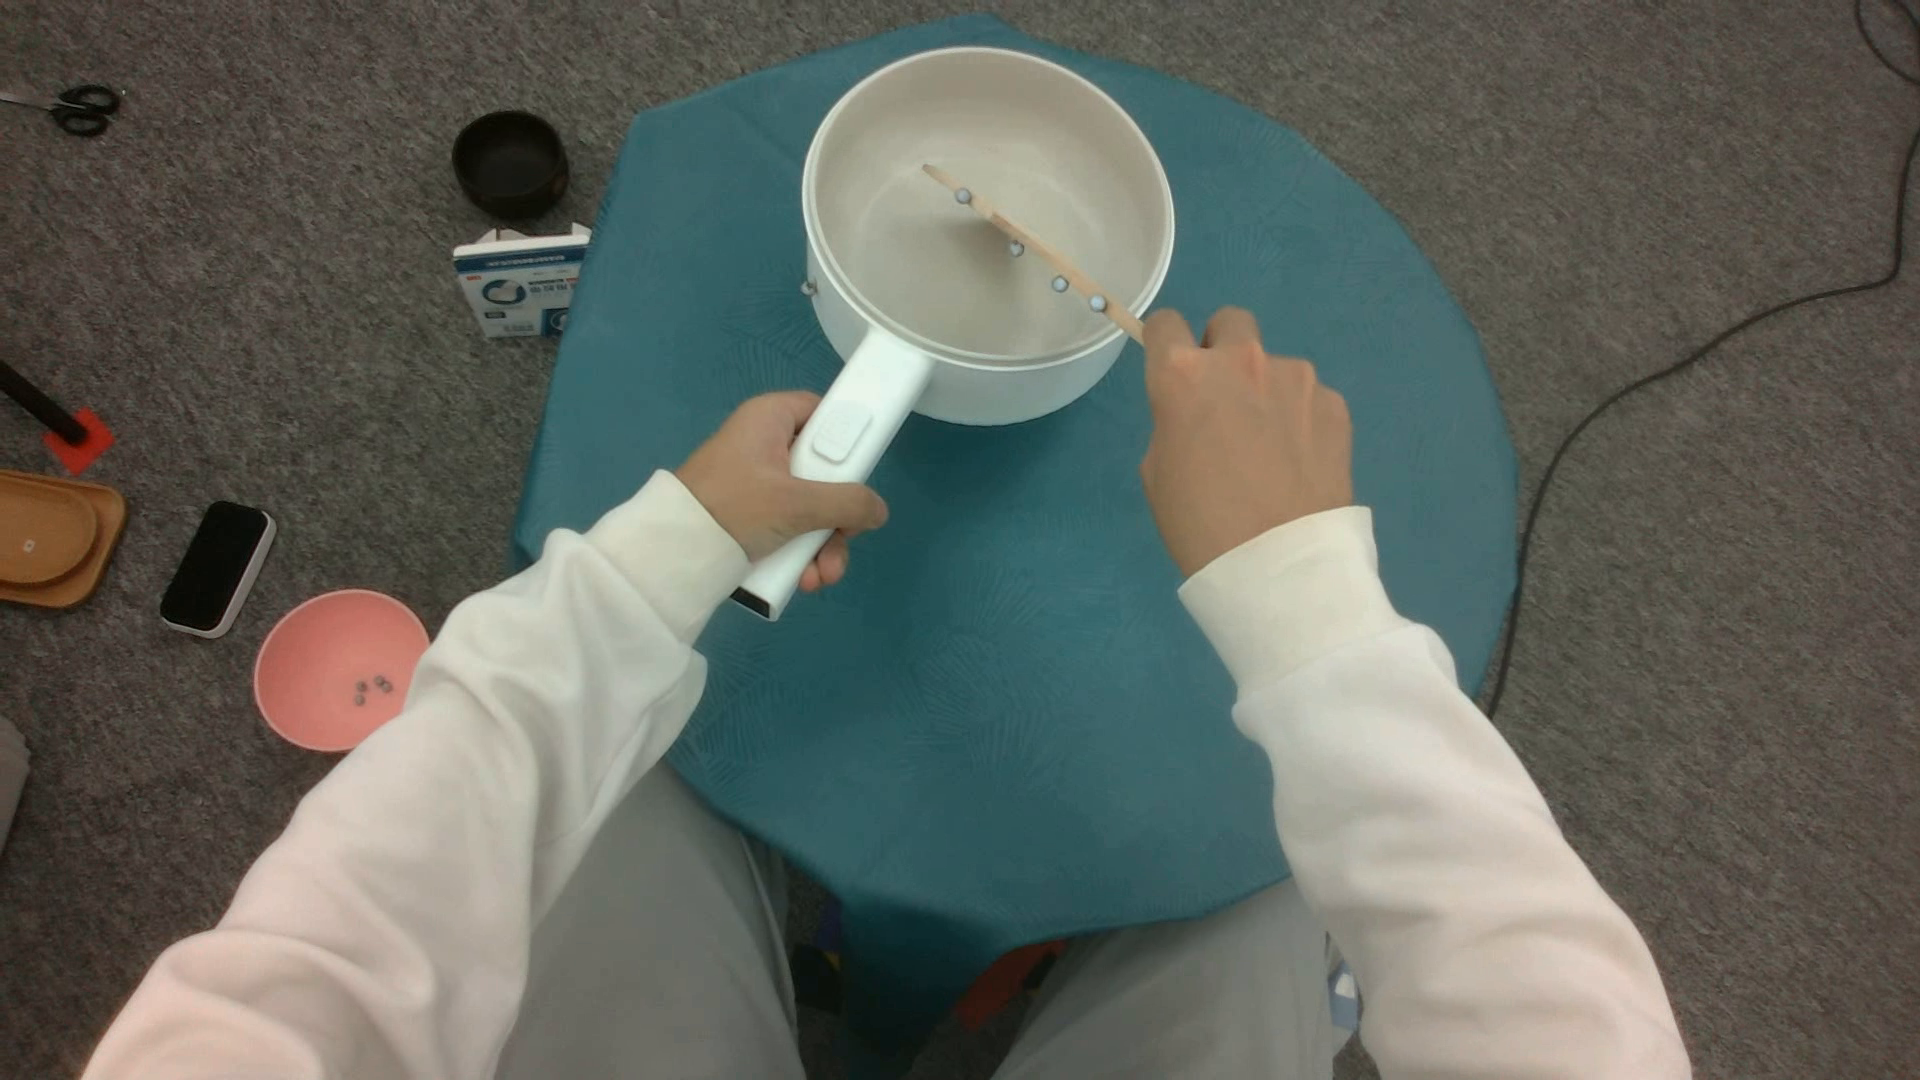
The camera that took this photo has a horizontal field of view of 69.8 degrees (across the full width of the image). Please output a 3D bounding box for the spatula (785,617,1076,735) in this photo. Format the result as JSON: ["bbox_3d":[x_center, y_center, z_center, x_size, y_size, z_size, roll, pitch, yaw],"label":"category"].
[{"bbox_3d":[-0.033,0.126,1.365,0.293,0.010,0.072,14,68,3],"label":"spatula"}]

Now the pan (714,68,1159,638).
[{"bbox_3d":[-0.028,-0.097,0.771,0.201,0.101,0.356,28,70,1],"label":"pan"}]
